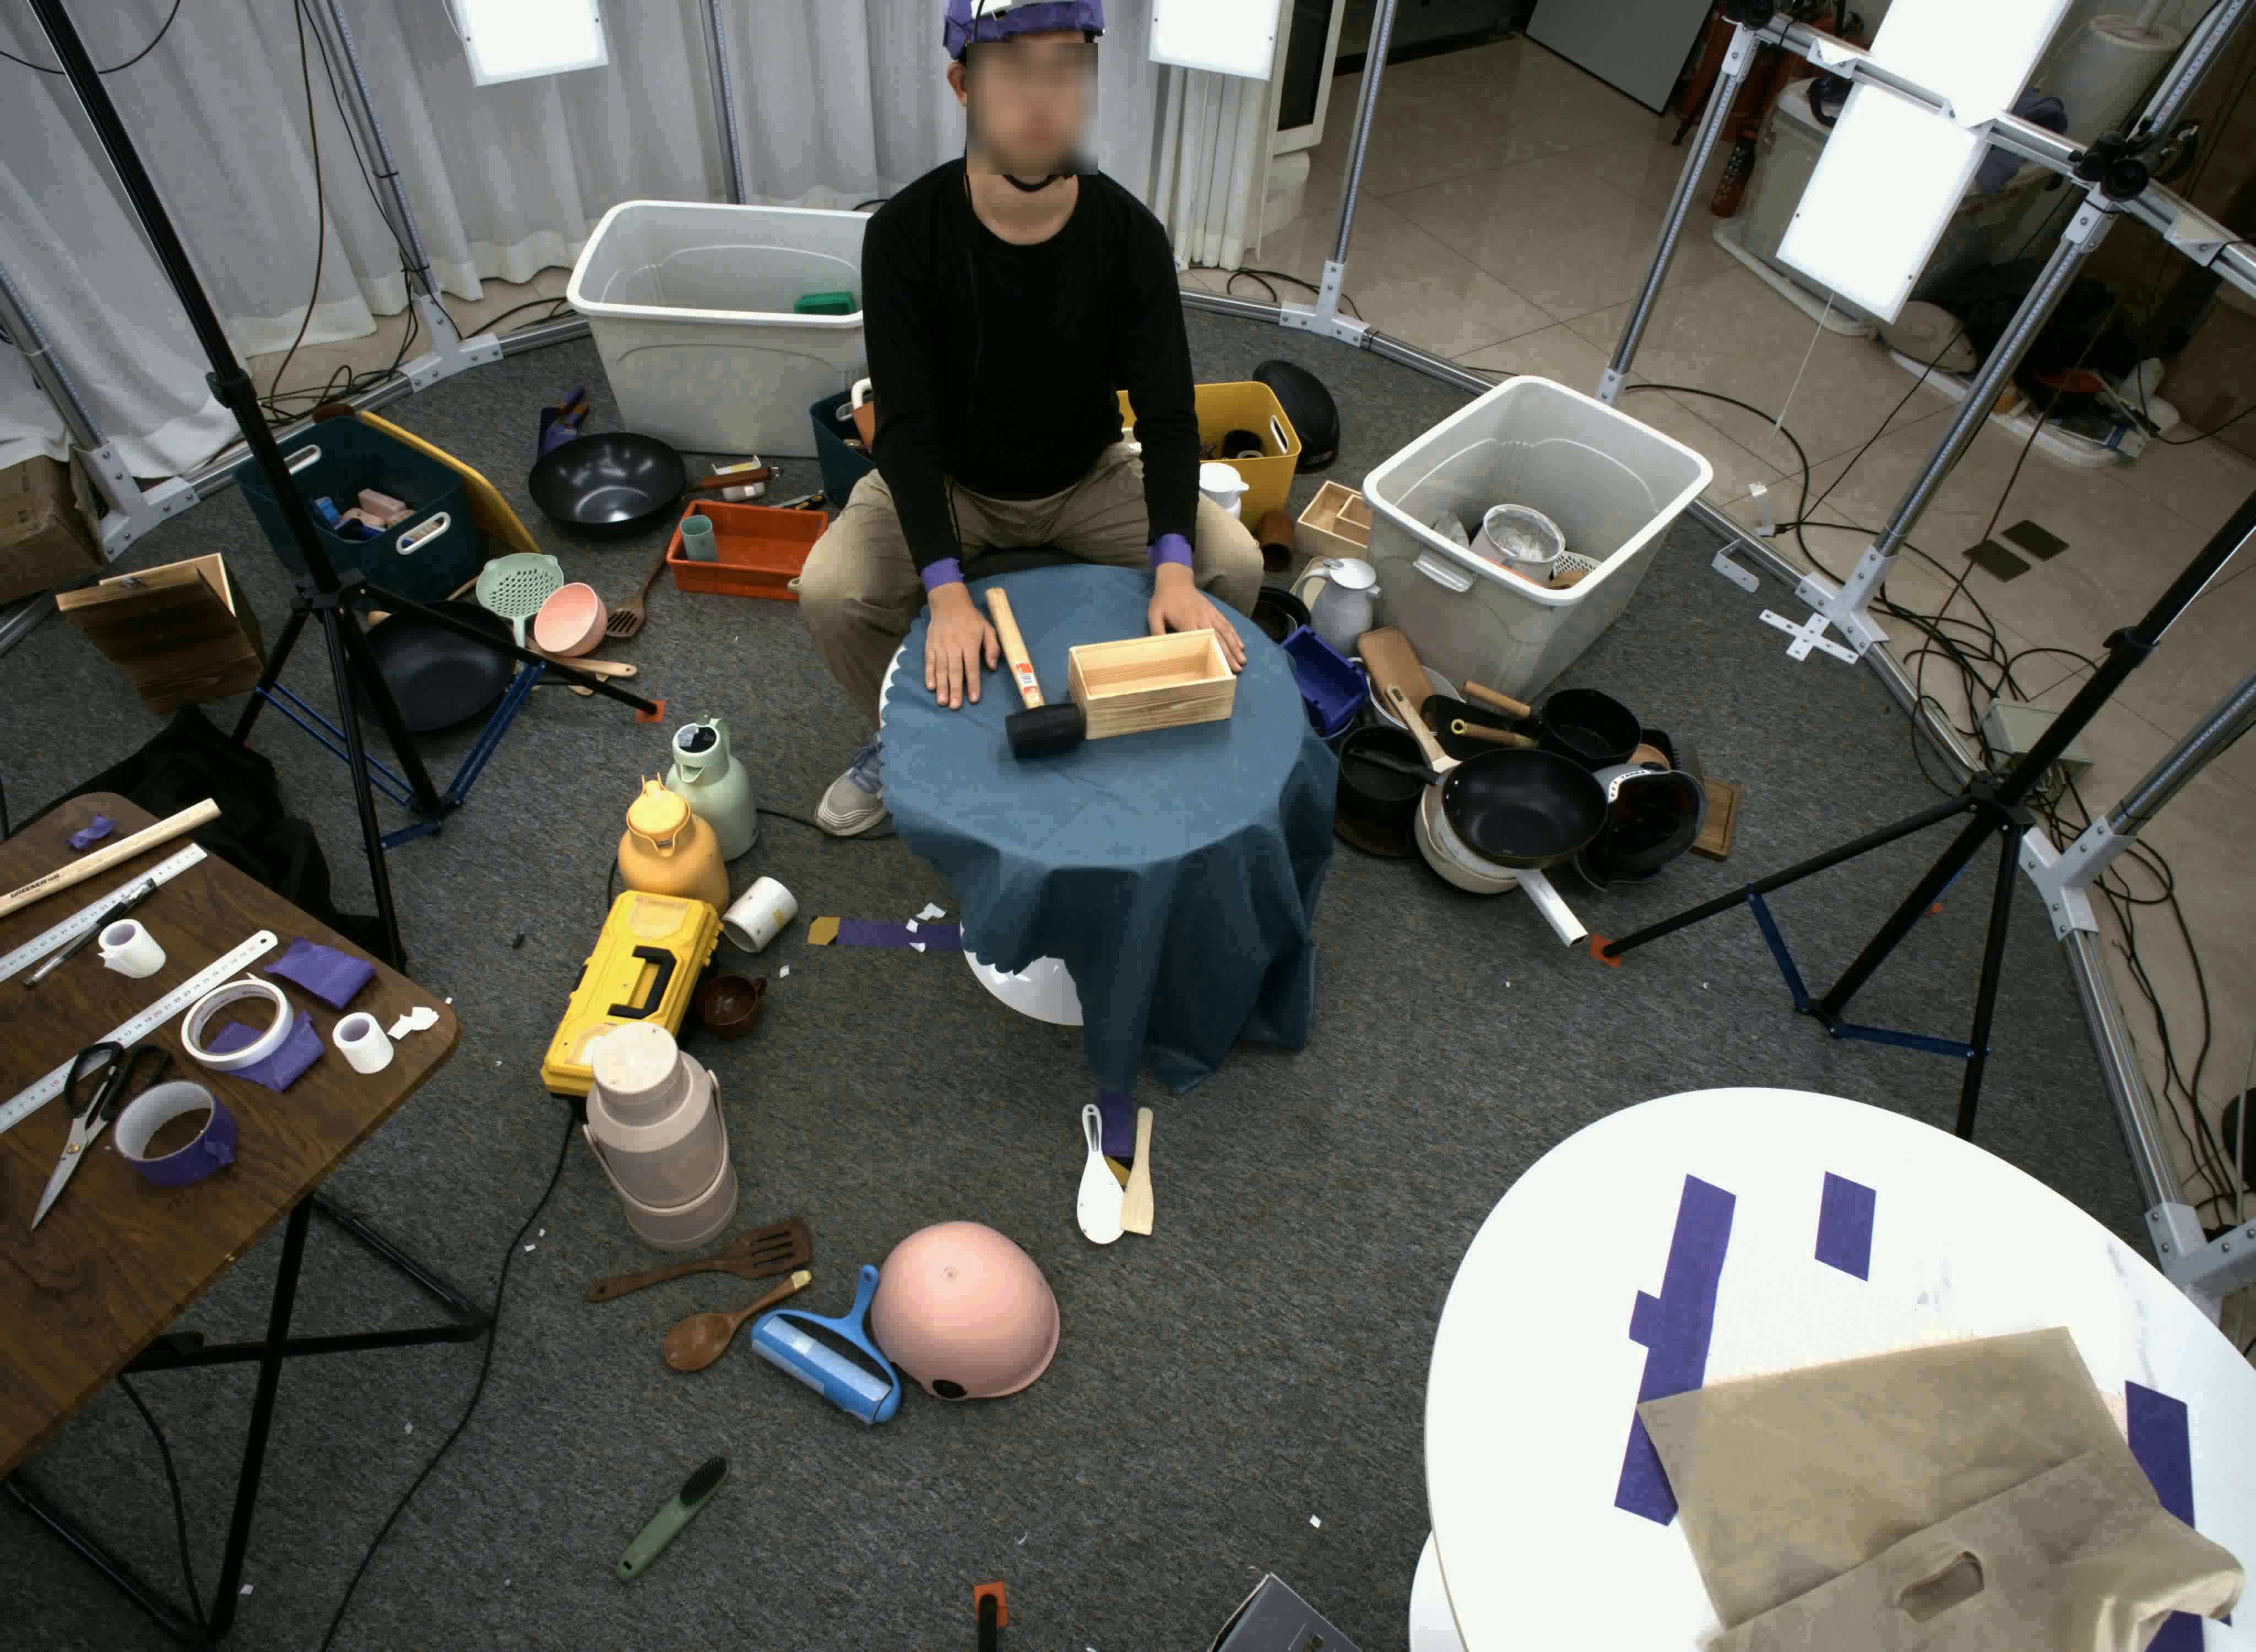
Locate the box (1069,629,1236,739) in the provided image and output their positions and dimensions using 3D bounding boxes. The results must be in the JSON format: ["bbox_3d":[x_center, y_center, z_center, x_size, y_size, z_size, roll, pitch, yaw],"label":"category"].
[{"bbox_3d":[0.031,-0.200,1.793,0.211,0.078,0.110,-9,50,-12],"label":"box"}]

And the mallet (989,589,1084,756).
[{"bbox_3d":[-0.150,-0.233,1.823,0.102,0.063,0.347,-9,50,-12],"label":"mallet"}]
